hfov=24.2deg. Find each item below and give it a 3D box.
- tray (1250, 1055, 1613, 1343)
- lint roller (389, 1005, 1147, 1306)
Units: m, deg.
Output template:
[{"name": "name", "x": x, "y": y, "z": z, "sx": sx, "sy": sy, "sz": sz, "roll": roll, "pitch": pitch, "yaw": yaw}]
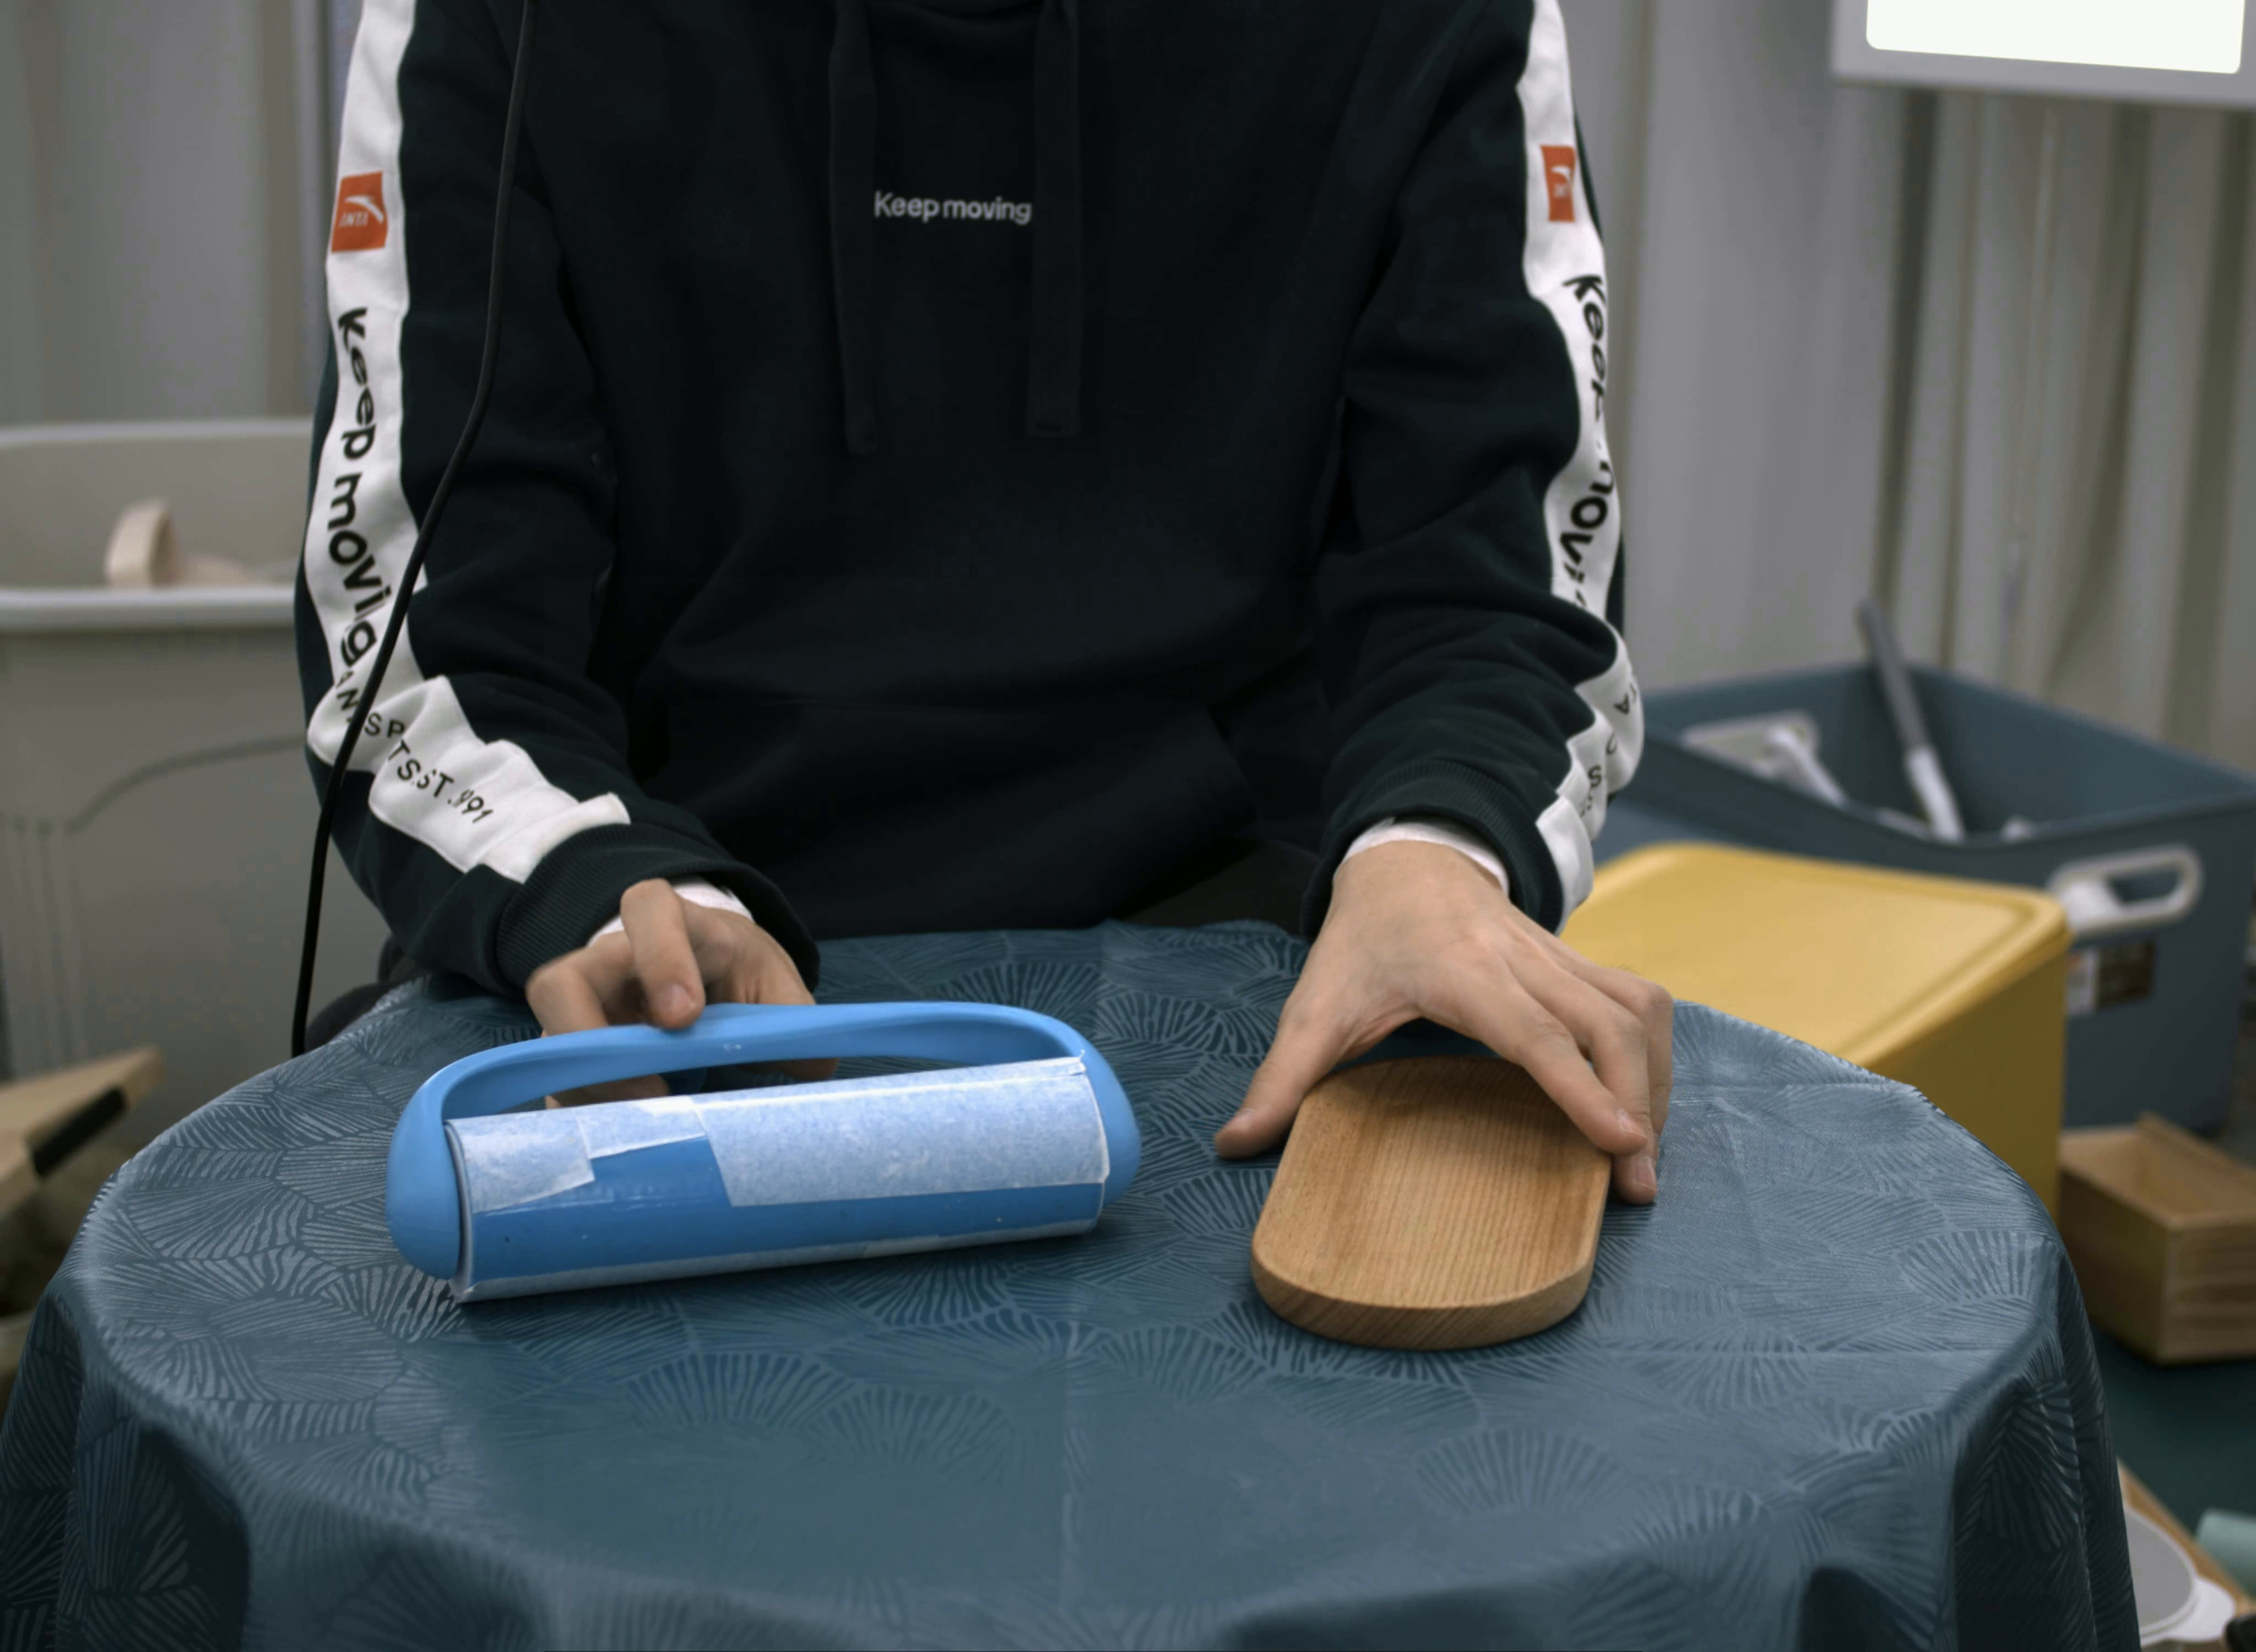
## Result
[{"name": "tray", "x": 0.094, "y": 0.111, "z": 1.598, "sx": 0.101, "sy": 0.020, "sz": 0.230, "roll": 3, "pitch": 14, "yaw": 6}, {"name": "lint roller", "x": -0.125, "y": 0.087, "z": 1.599, "sx": 0.229, "sy": 0.068, "sz": 0.178, "roll": -7, "pitch": 18, "yaw": -21}]
